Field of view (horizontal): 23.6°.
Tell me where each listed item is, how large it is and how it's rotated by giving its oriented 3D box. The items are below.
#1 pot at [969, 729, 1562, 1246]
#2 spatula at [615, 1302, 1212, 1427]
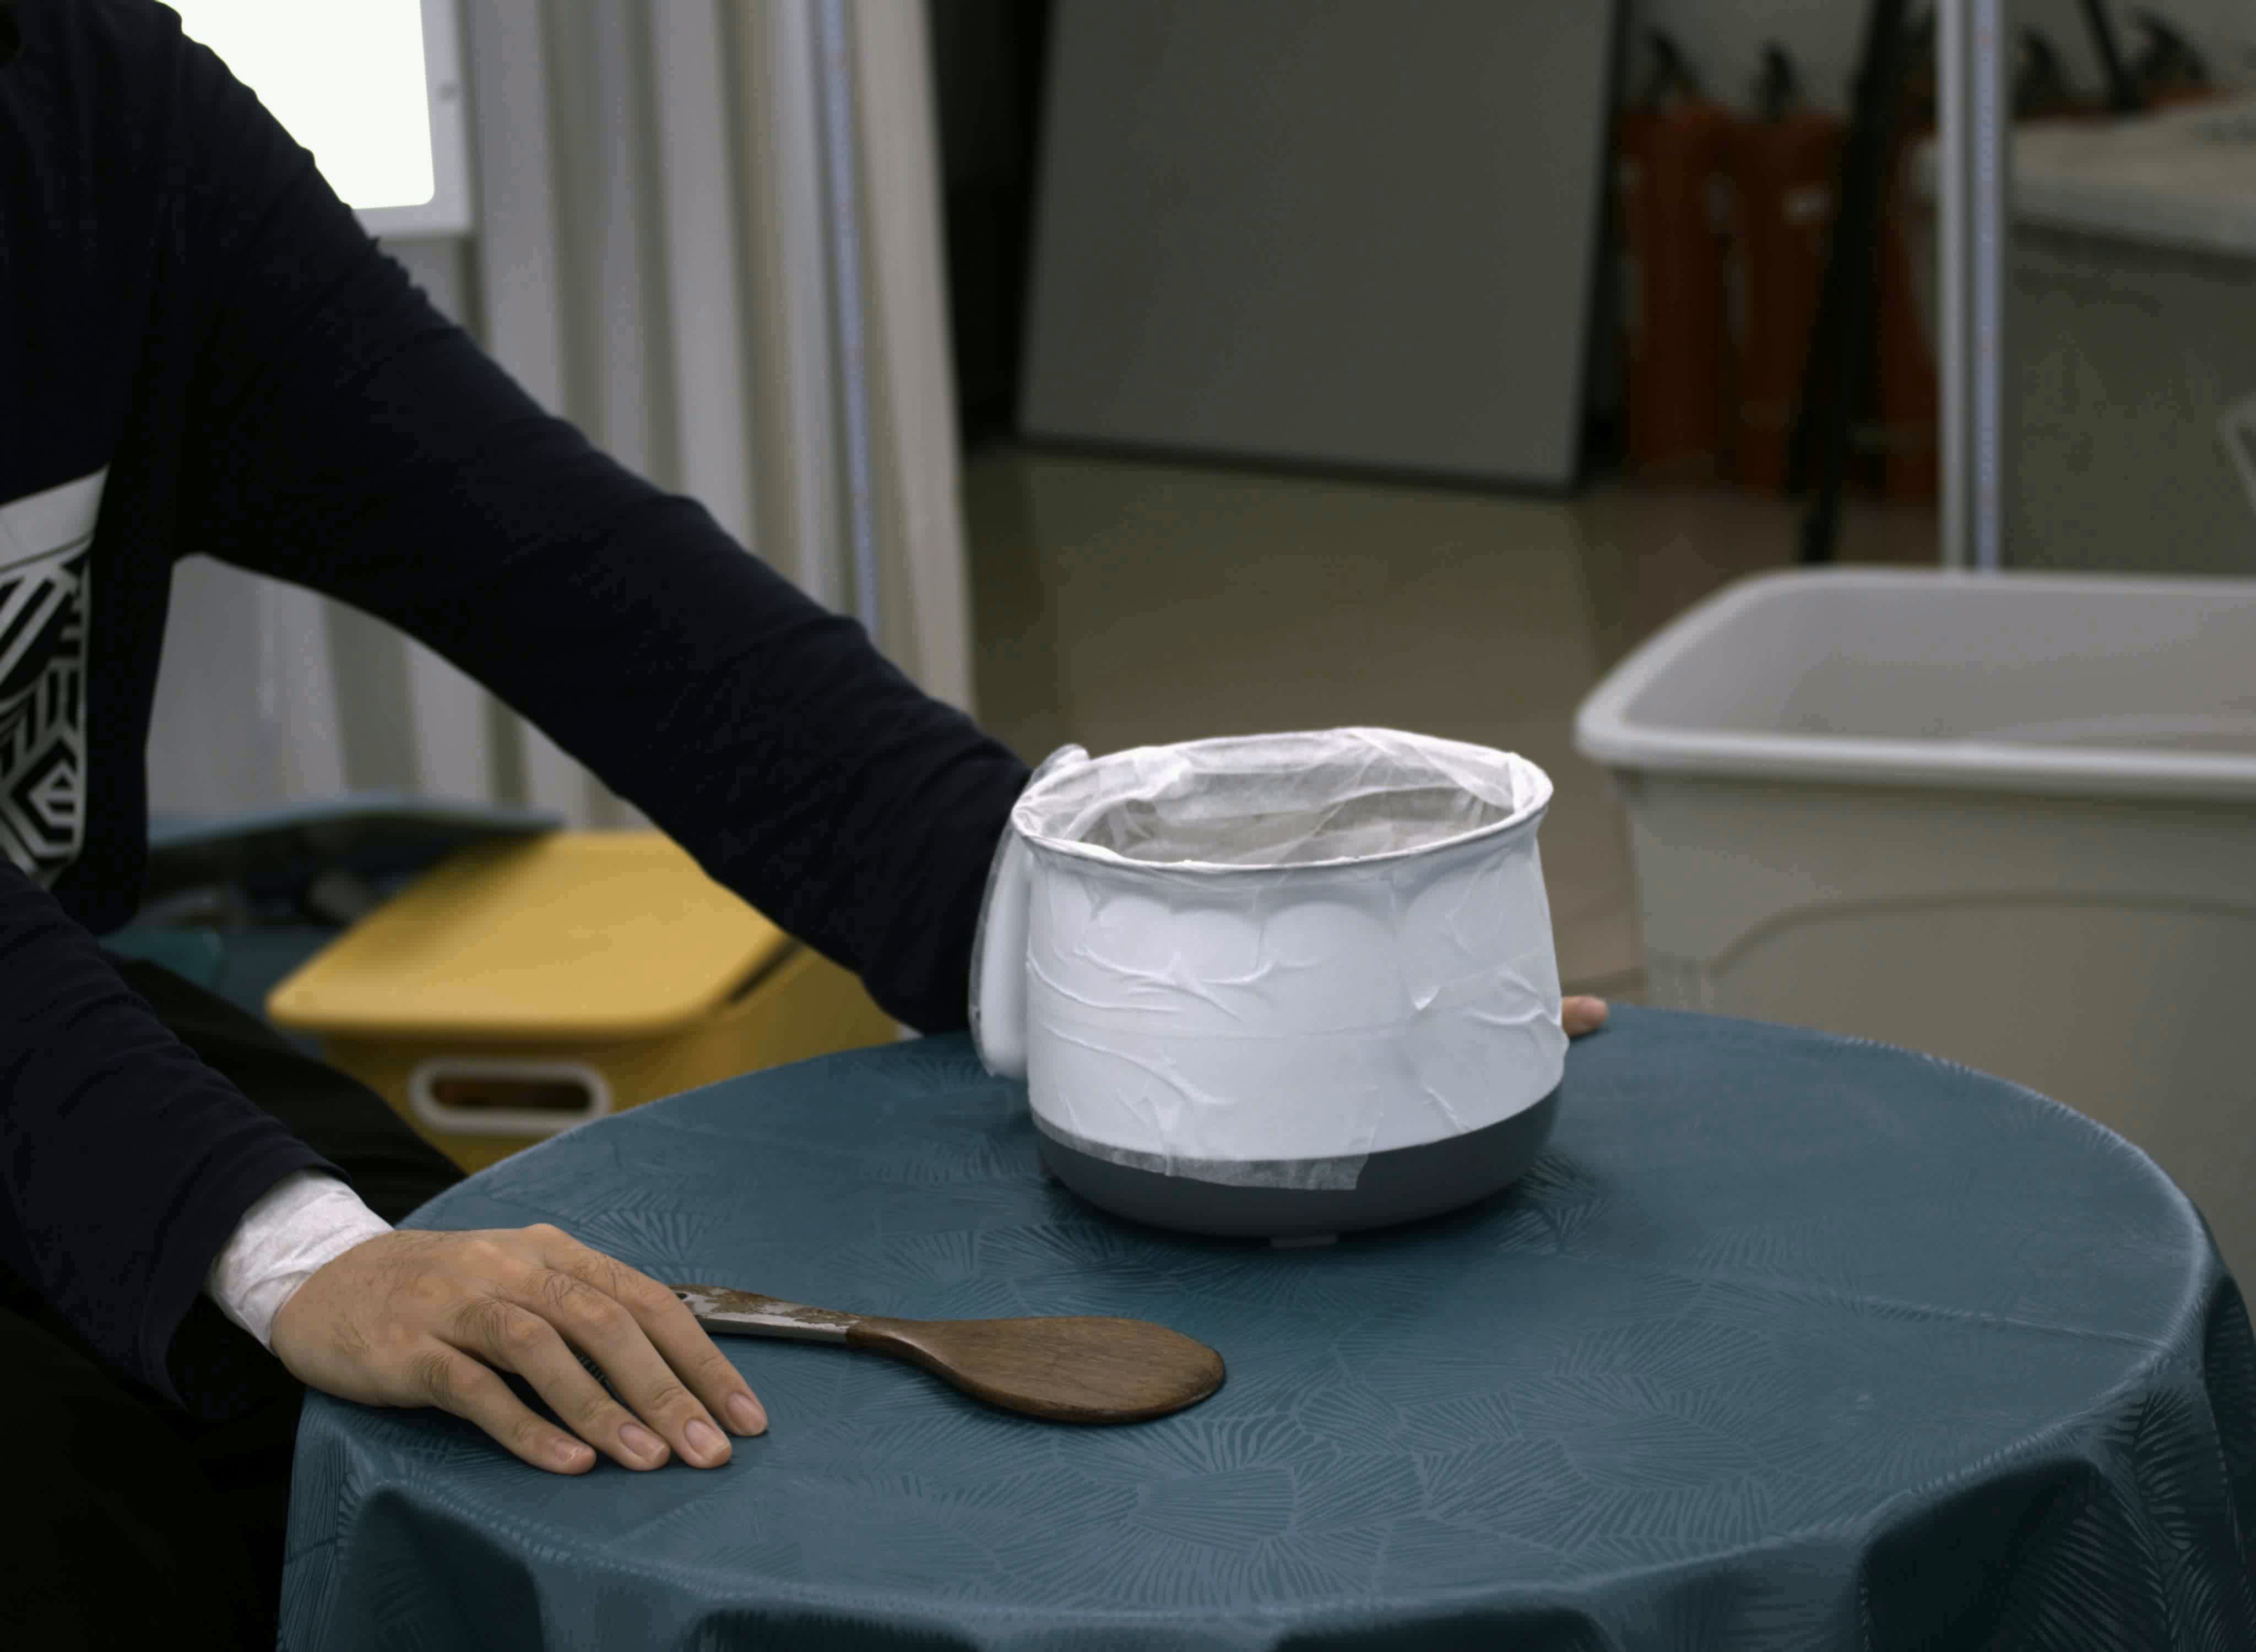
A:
[{"bbox_3d":[0.034,0.046,1.775,0.236,0.138,0.175,11,17,44],"label":"pot"},{"bbox_3d":[-0.068,0.158,1.631,0.217,0.009,0.070,5,14,35],"label":"spatula"}]
